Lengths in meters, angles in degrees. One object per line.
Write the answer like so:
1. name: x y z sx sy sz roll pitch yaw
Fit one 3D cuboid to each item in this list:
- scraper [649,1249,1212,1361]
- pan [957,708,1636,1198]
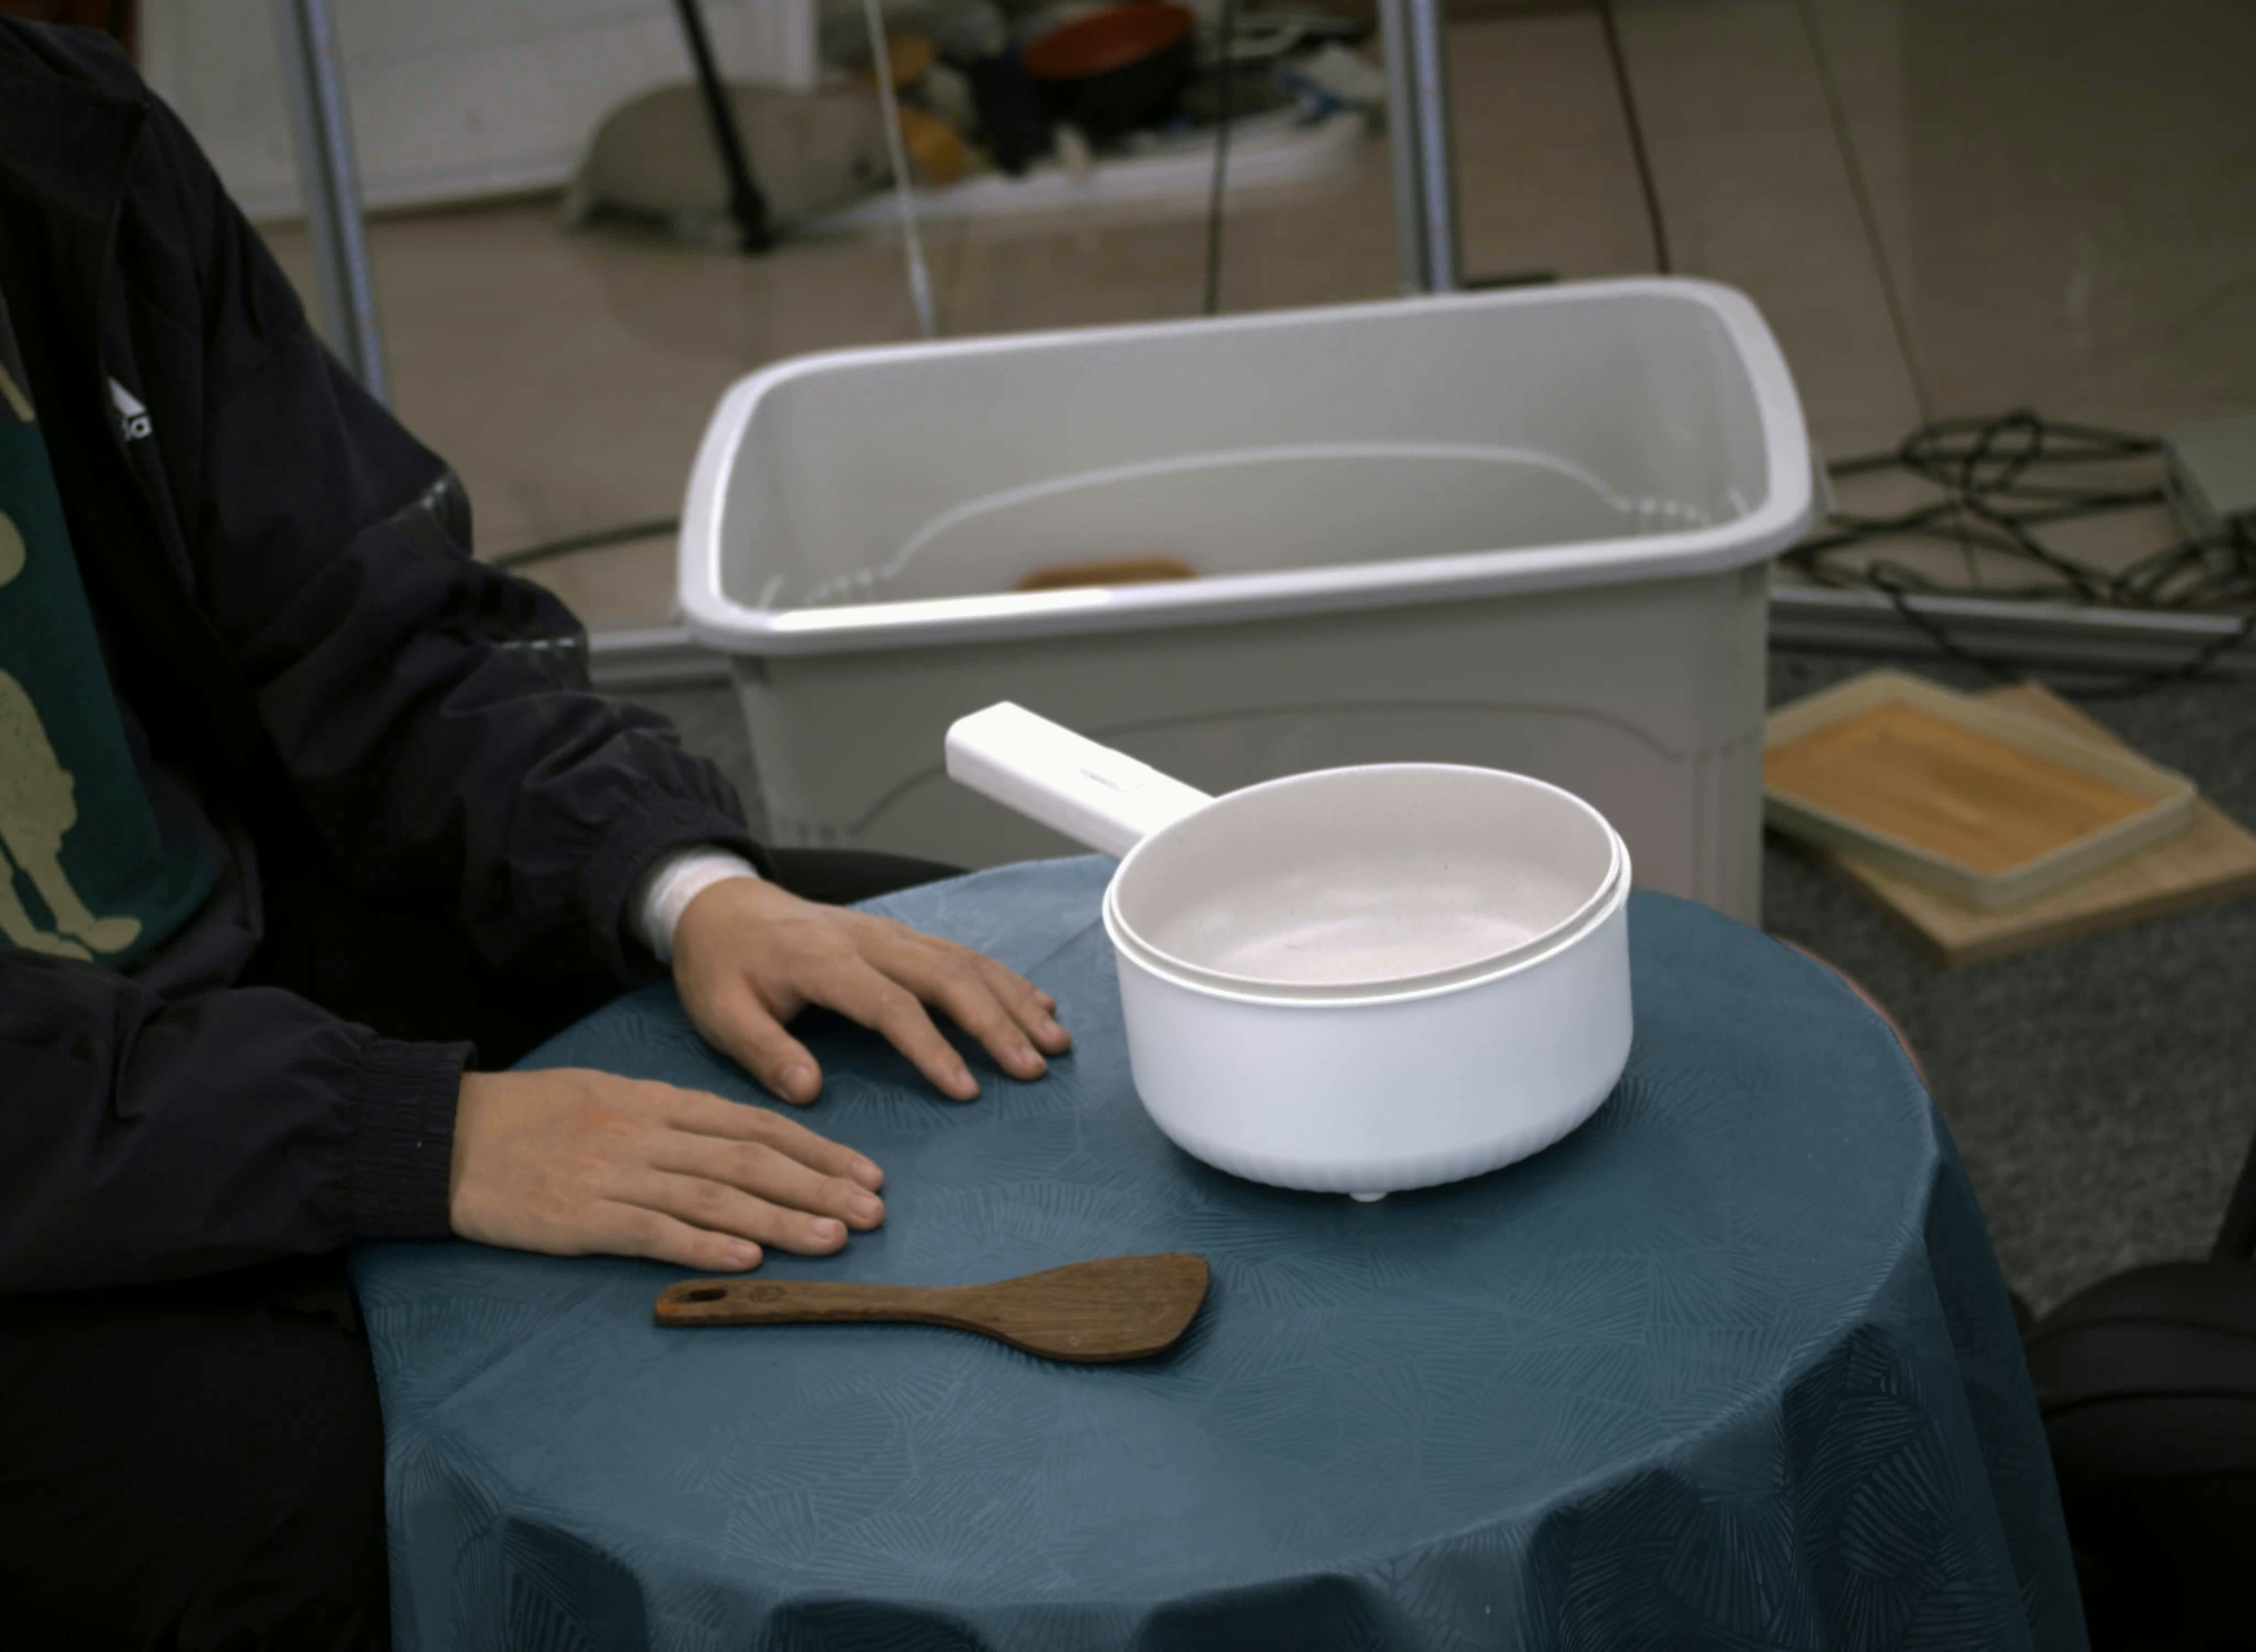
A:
1. scraper: -0.074 0.175 2.078 0.211 0.011 0.075 -1 24 15
2. pan: 0.050 0.042 2.226 0.200 0.103 0.351 -23 28 -31
